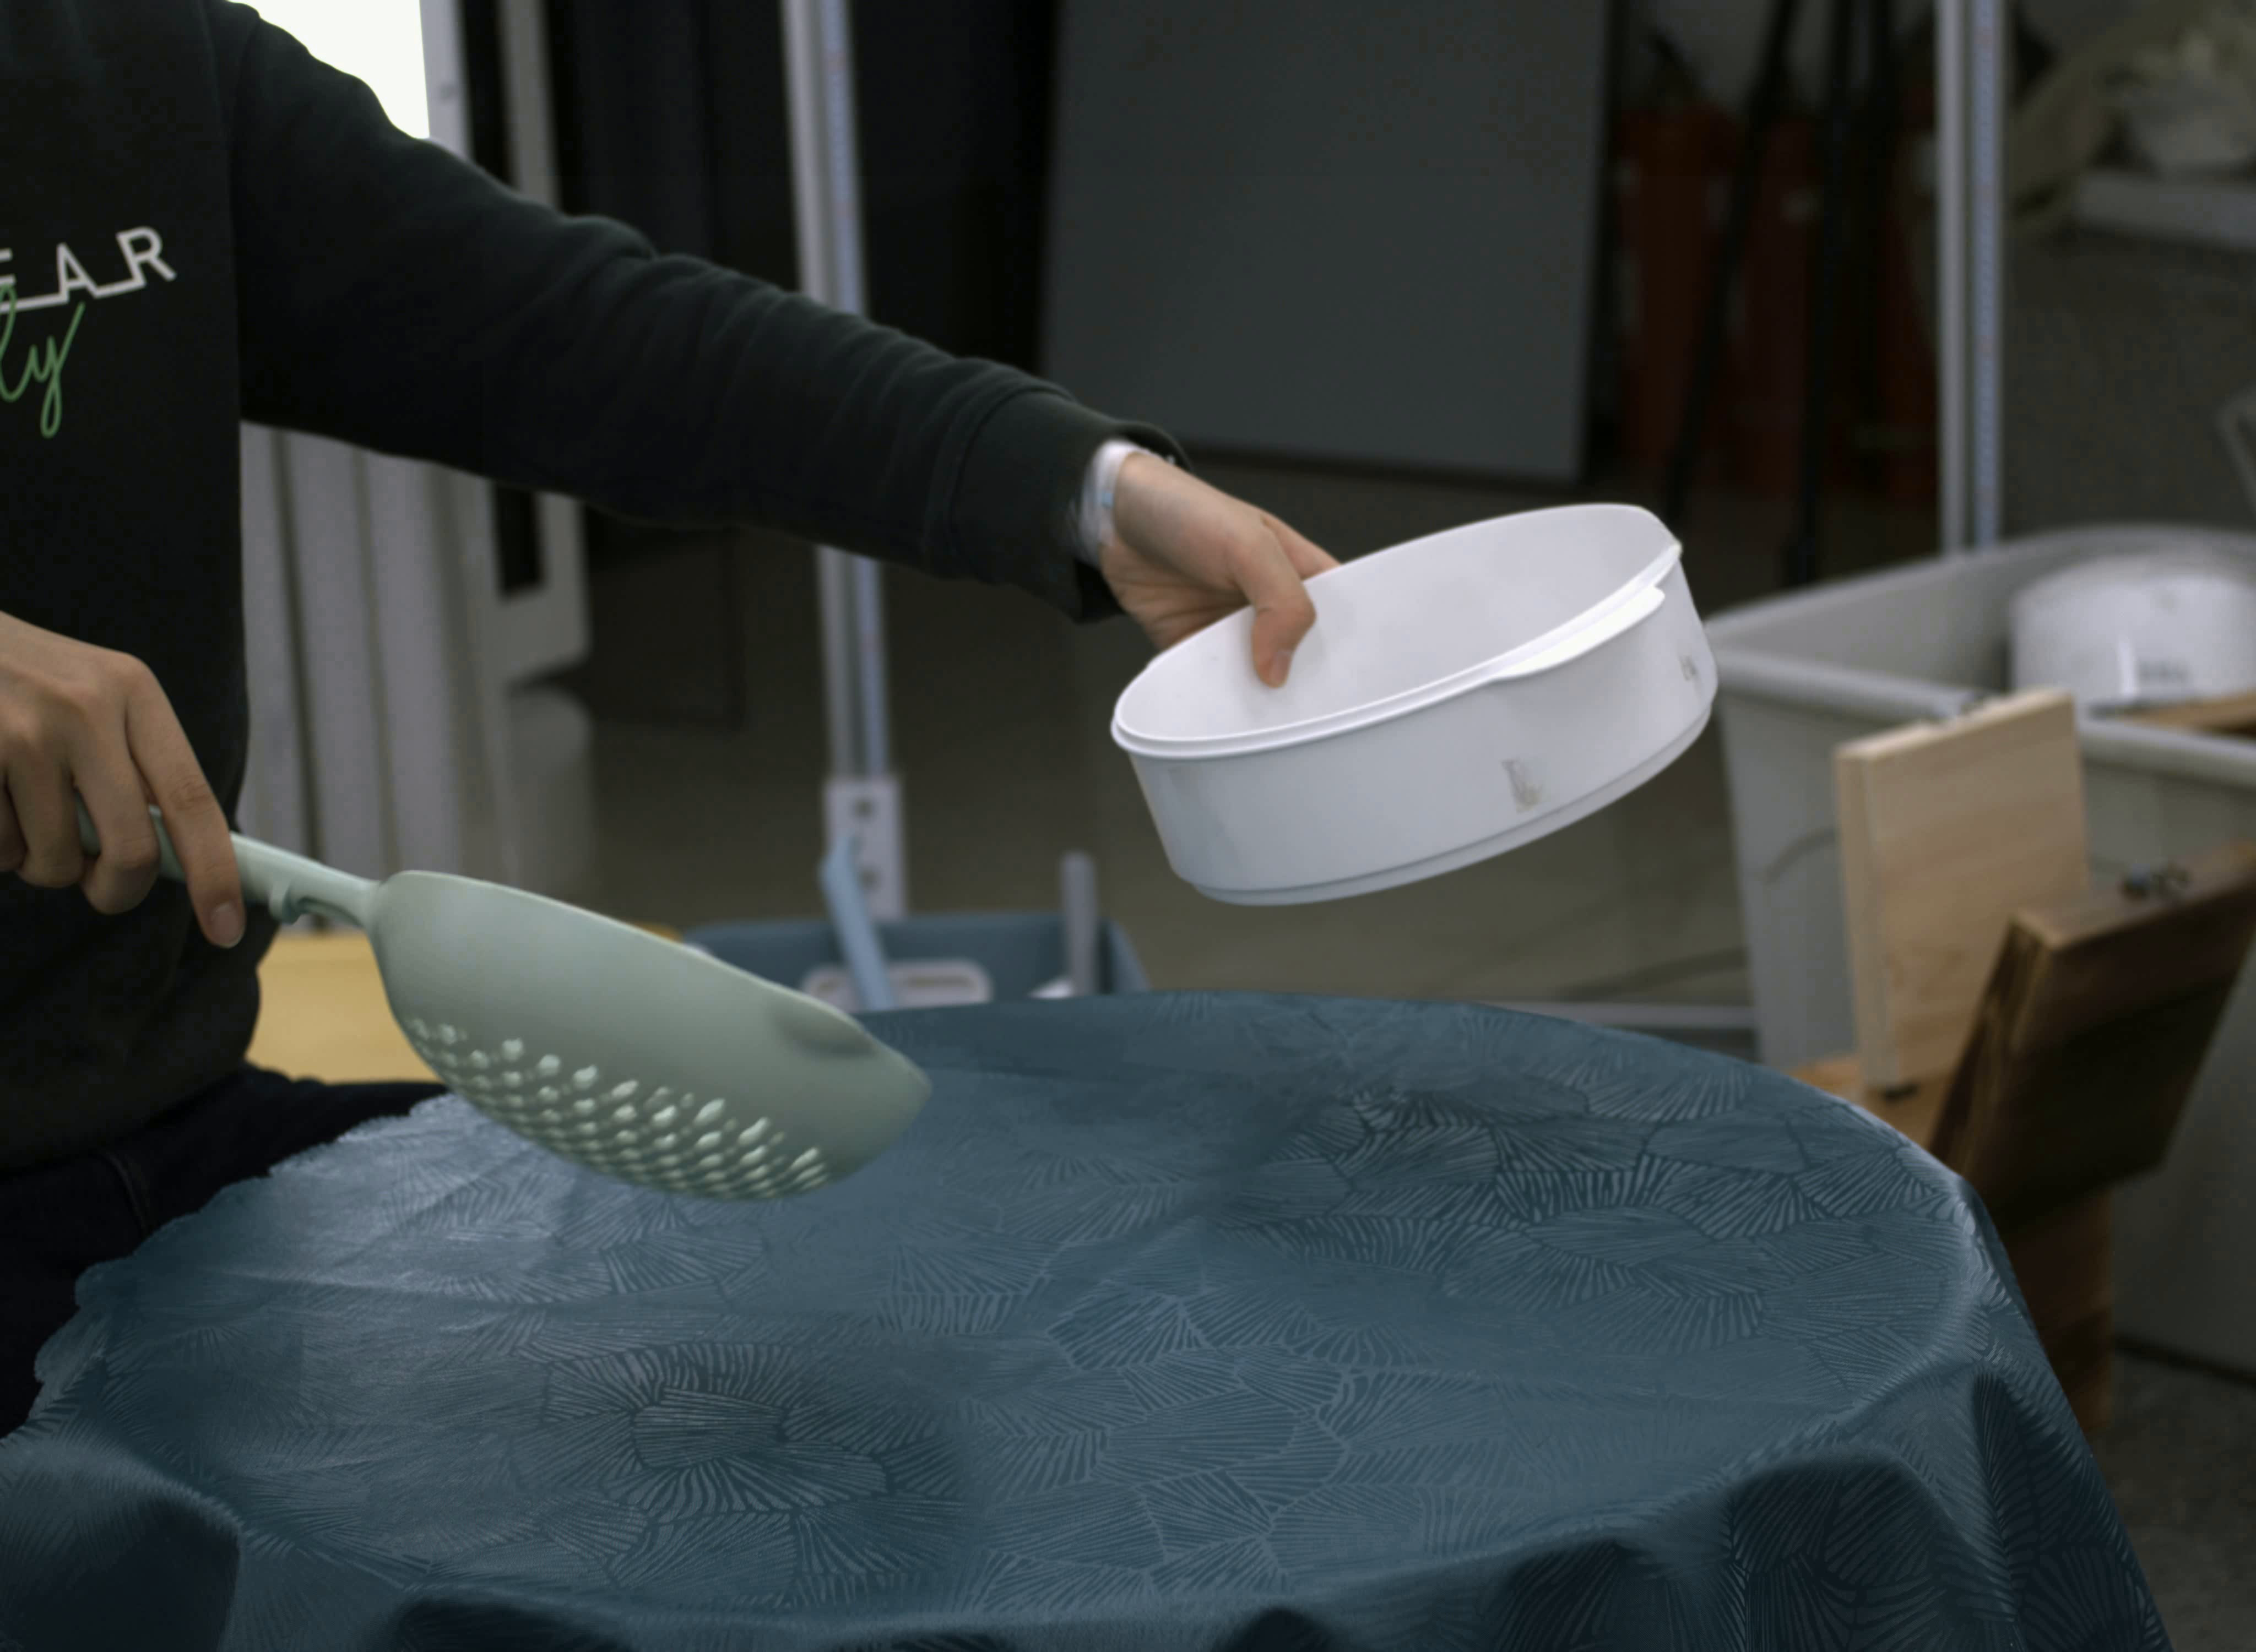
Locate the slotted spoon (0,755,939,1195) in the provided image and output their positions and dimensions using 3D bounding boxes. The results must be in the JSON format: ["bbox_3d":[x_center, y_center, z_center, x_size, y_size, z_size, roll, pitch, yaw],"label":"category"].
[{"bbox_3d":[-0.227,0.026,1.585,0.358,0.076,0.168,26,-11,15],"label":"slotted spoon"}]

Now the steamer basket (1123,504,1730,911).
[{"bbox_3d":[0.101,-0.038,1.782,0.198,0.069,0.233,-29,16,-30],"label":"steamer basket"}]
